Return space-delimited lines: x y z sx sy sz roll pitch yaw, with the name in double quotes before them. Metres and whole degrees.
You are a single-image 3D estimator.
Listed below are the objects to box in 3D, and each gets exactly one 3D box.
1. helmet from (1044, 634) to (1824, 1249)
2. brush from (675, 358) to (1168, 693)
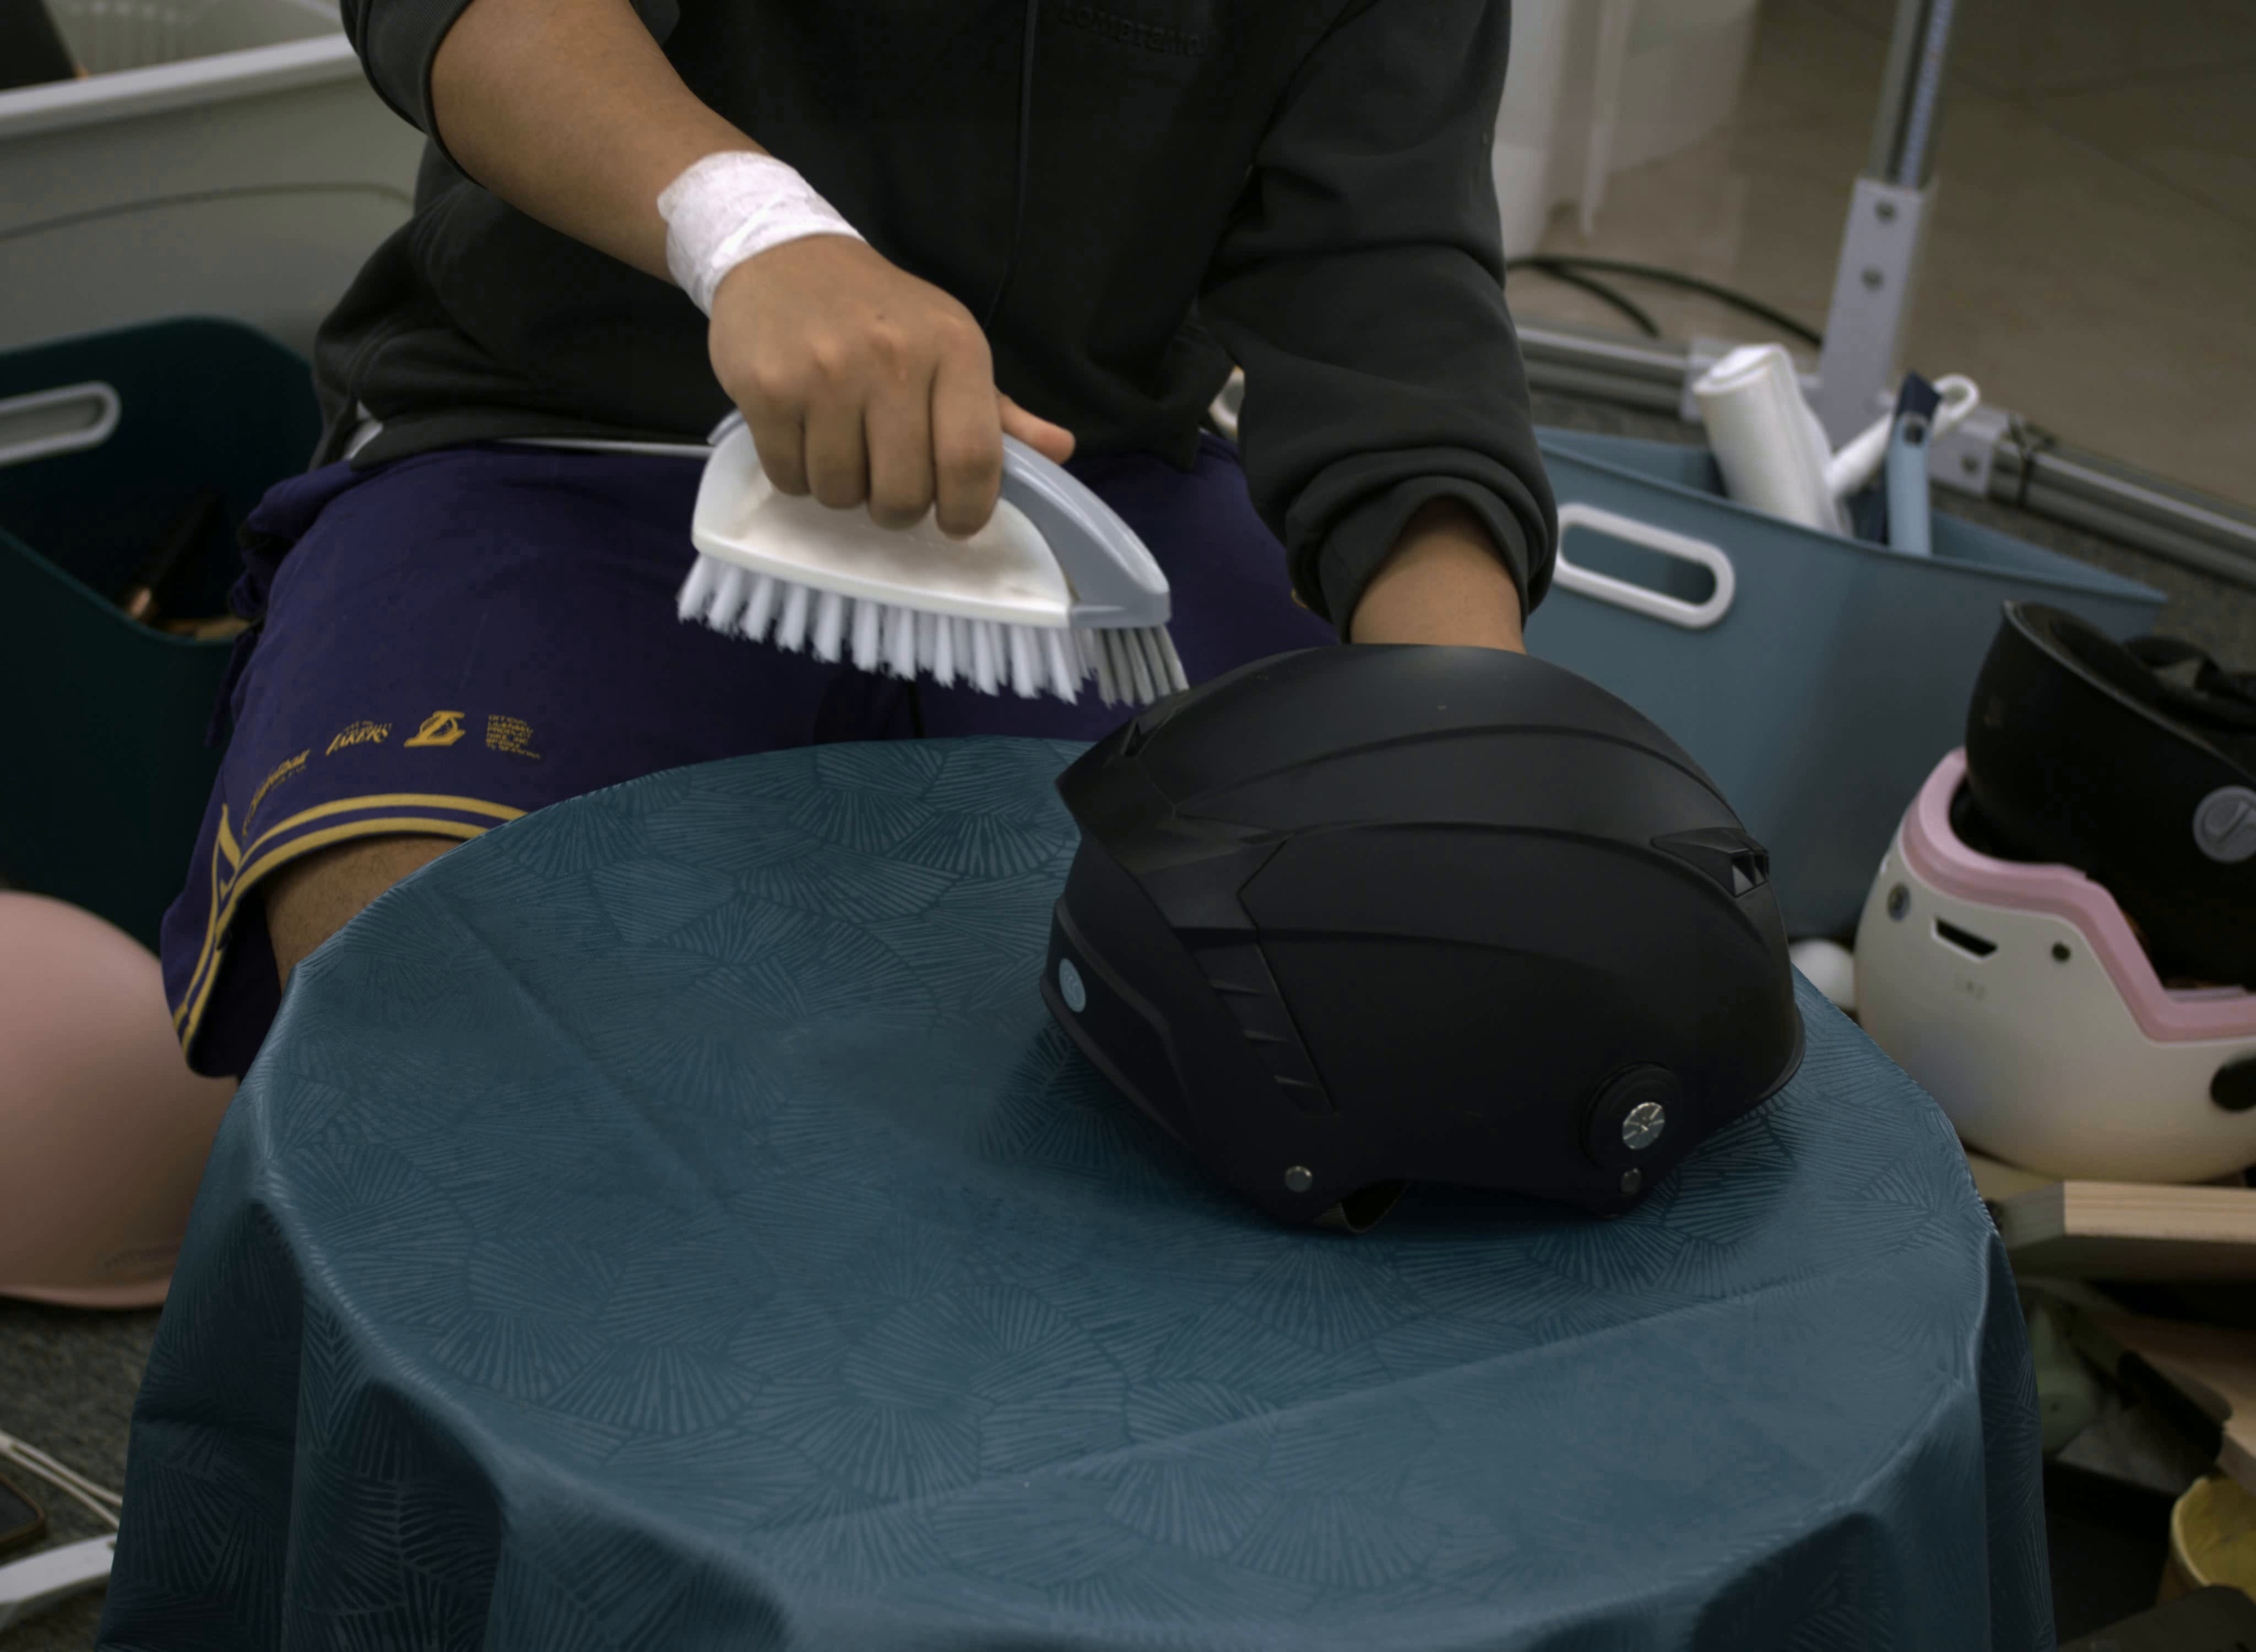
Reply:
"helmet" 0.106 0.021 1.851 0.275 0.172 0.249 -9 31 -19
"brush" -0.065 -0.104 1.772 0.176 0.094 0.061 18 38 17
